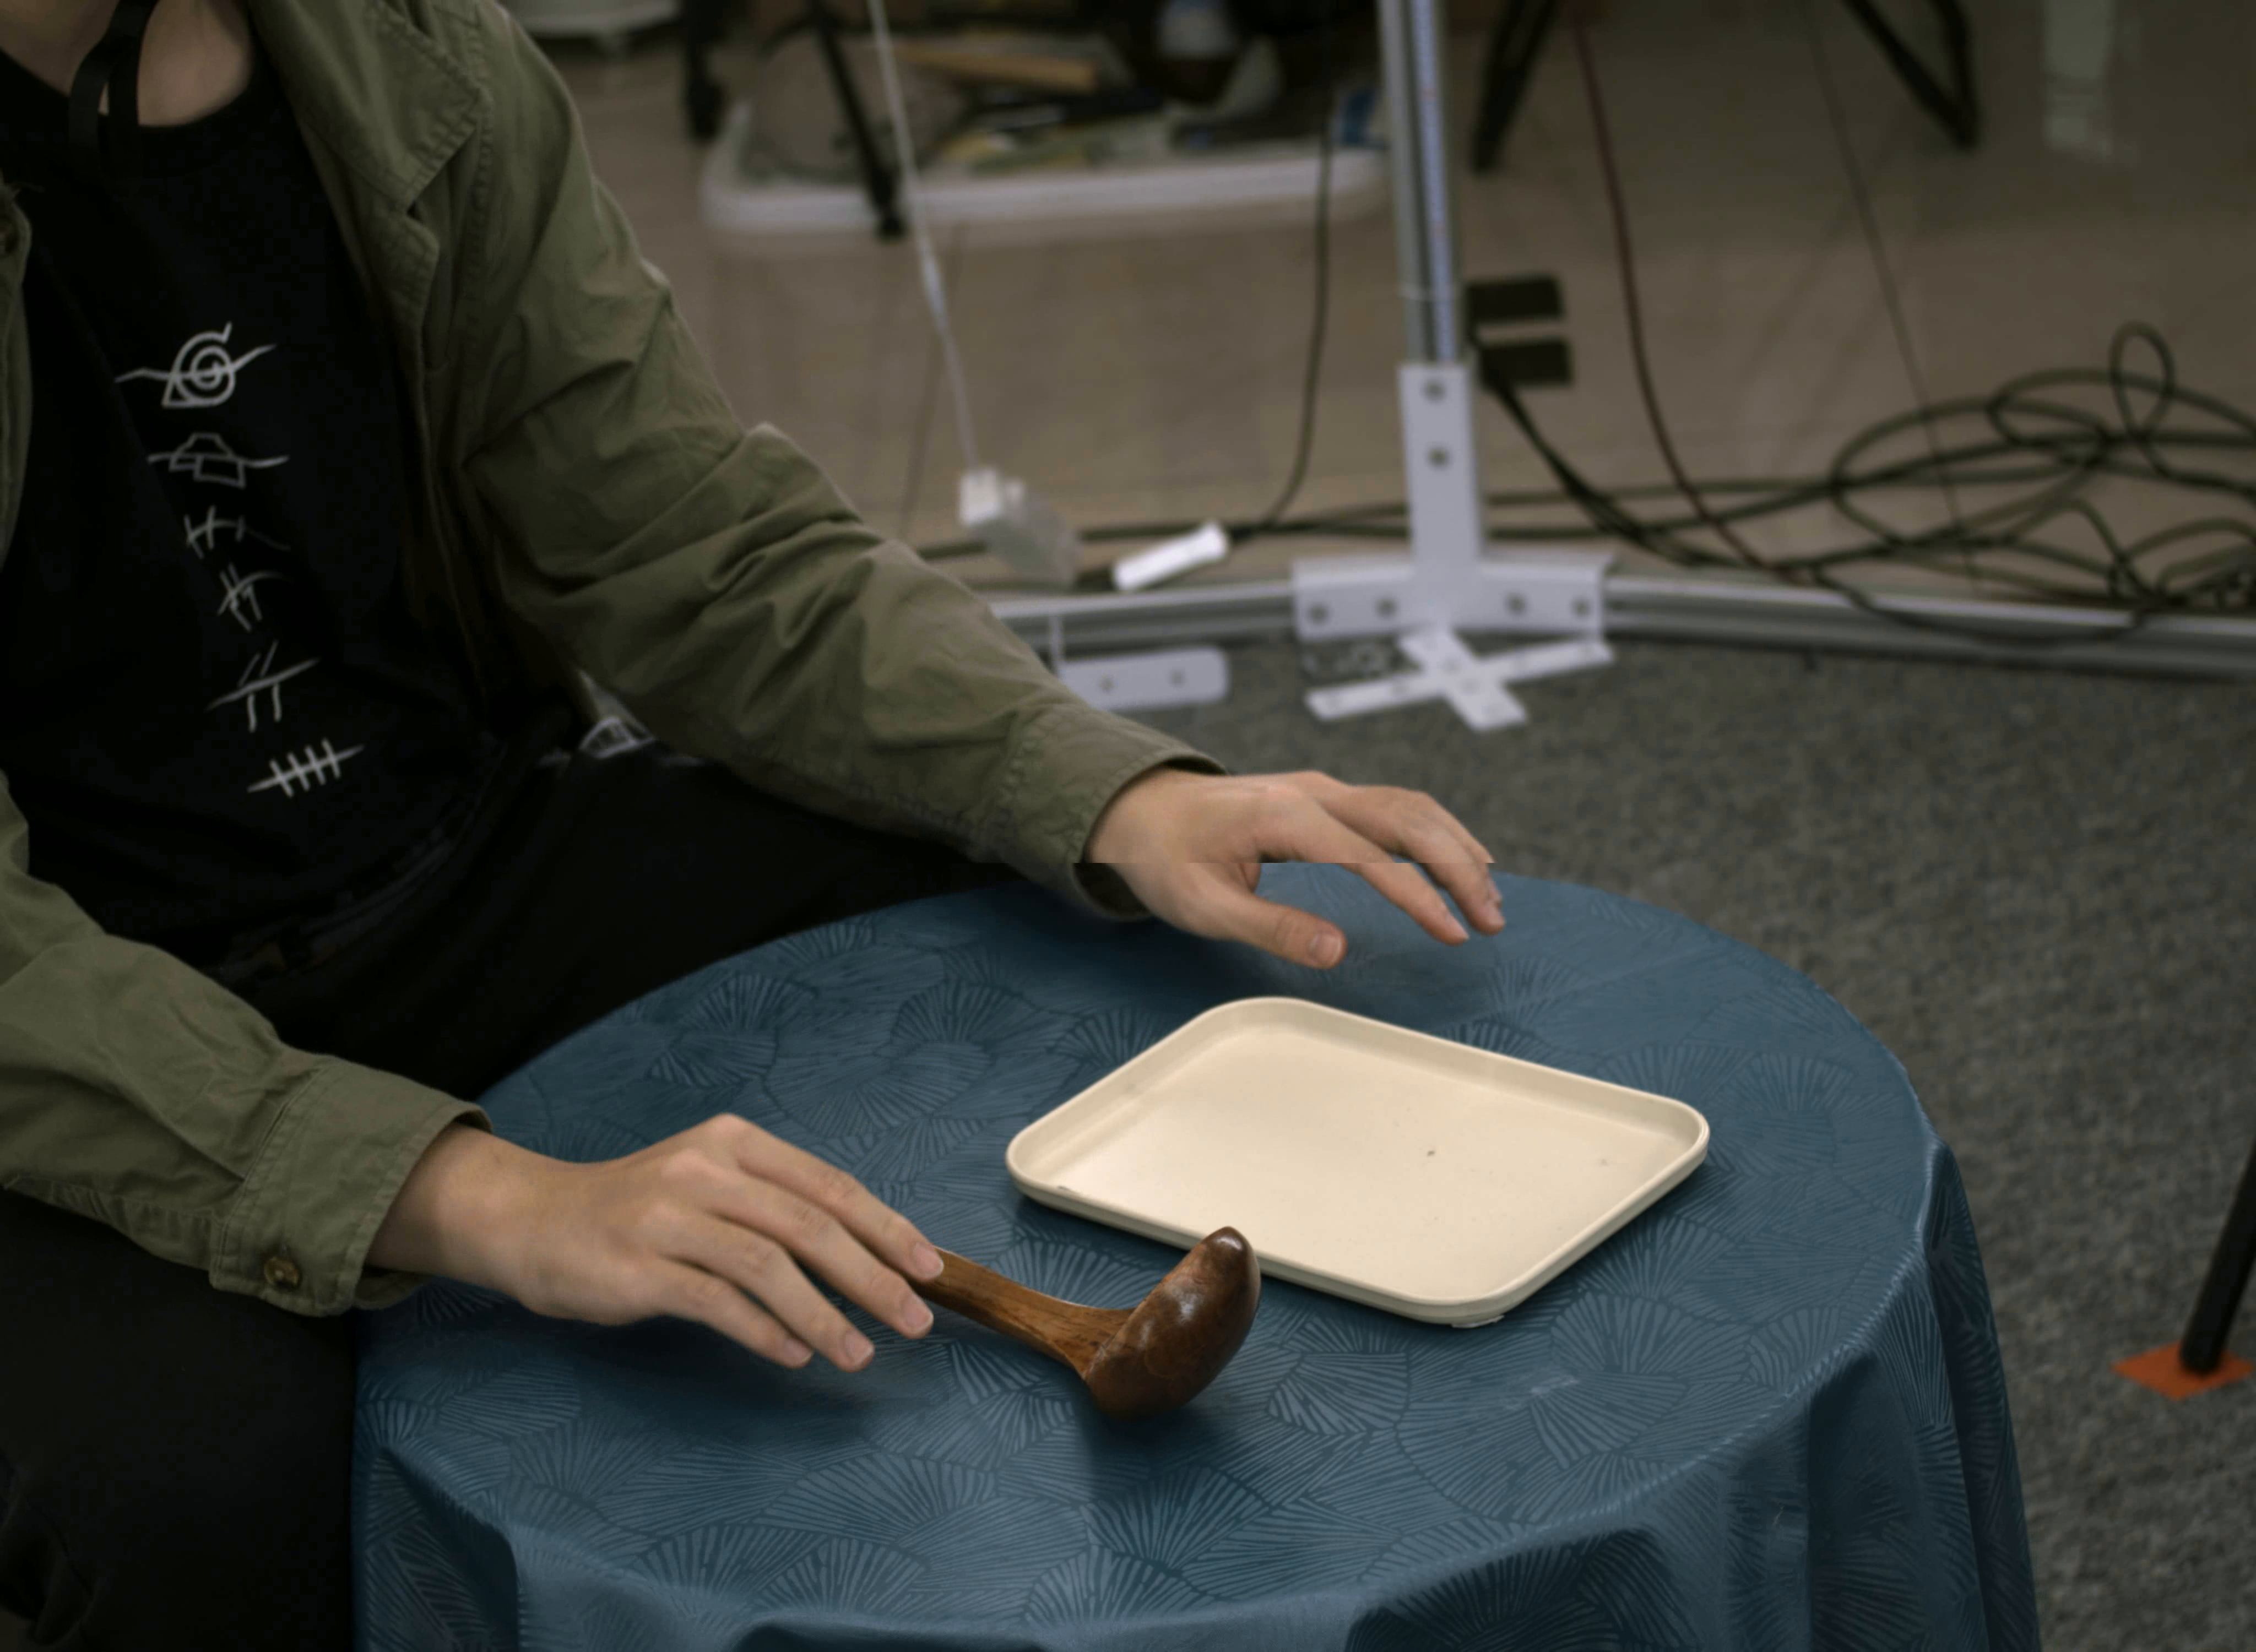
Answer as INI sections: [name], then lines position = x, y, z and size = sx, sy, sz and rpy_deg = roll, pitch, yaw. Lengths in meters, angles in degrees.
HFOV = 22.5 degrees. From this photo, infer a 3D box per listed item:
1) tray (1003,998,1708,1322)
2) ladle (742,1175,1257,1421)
[tray]
position = 0.085, 0.125, 2.139
size = 0.238, 0.018, 0.169
rpy_deg = 14, 32, 38
[ladle]
position = -0.060, 0.151, 2.052
size = 0.081, 0.078, 0.272
rpy_deg = -38, 38, -29
